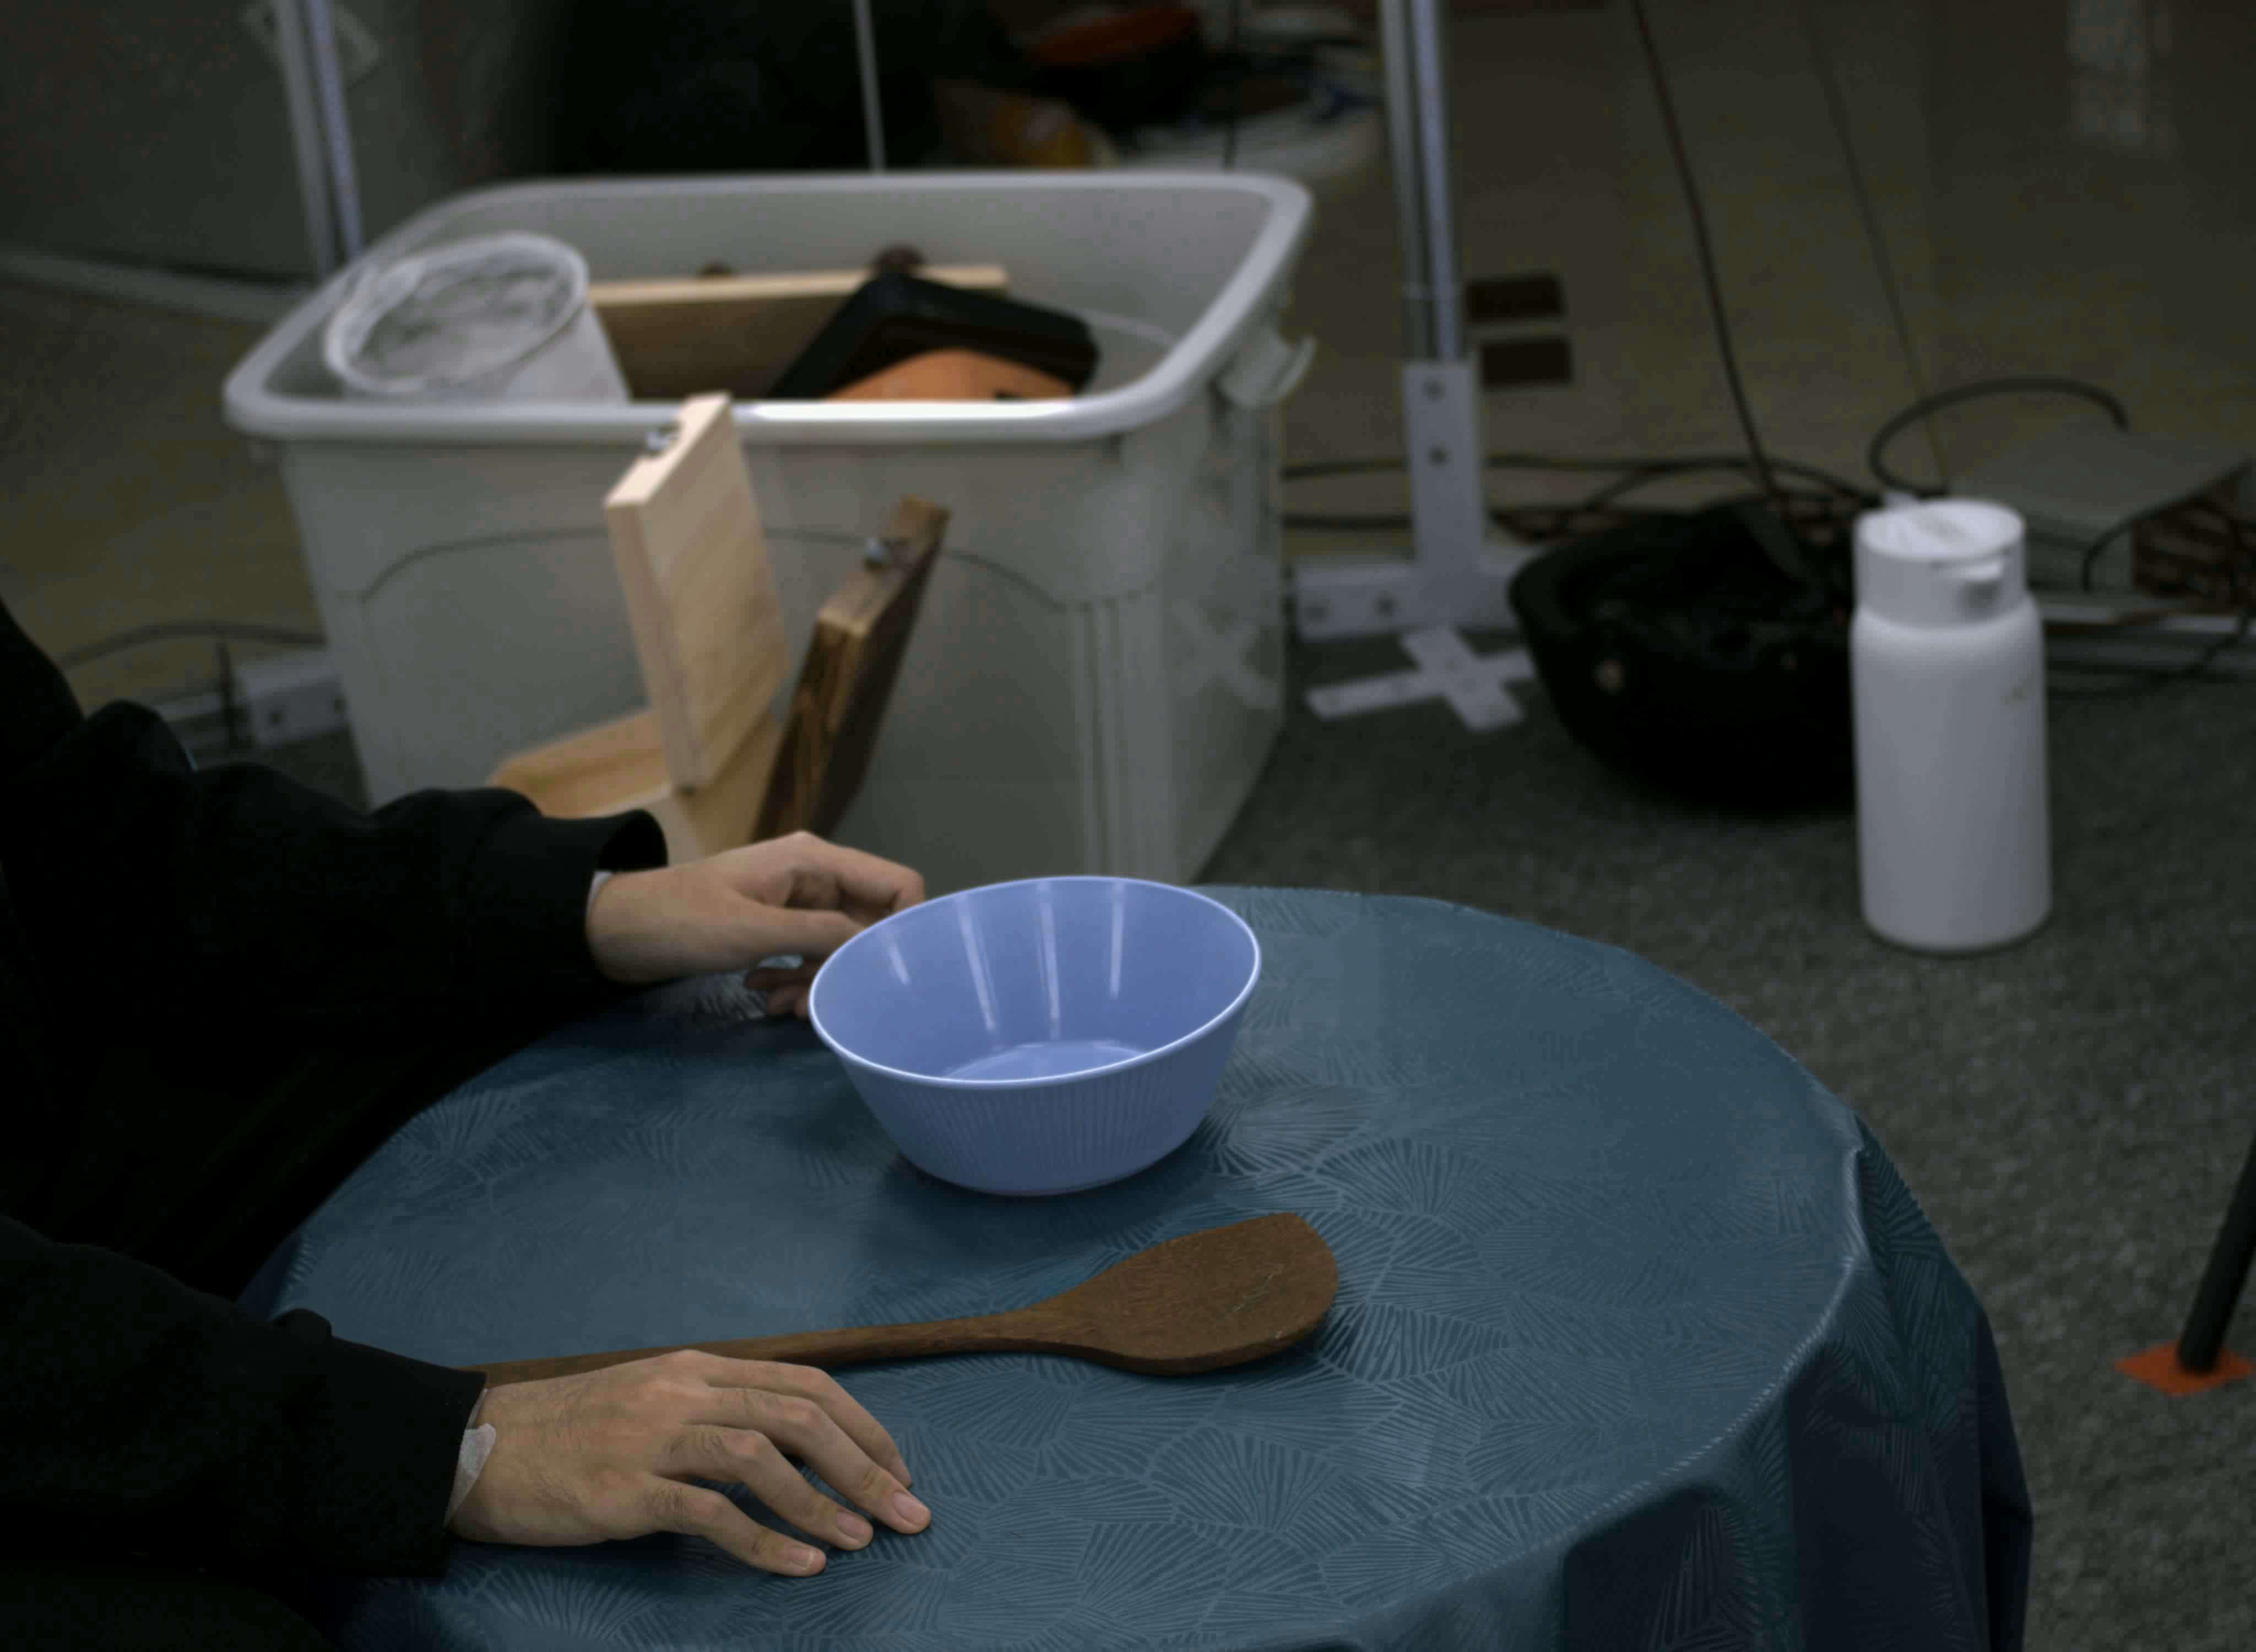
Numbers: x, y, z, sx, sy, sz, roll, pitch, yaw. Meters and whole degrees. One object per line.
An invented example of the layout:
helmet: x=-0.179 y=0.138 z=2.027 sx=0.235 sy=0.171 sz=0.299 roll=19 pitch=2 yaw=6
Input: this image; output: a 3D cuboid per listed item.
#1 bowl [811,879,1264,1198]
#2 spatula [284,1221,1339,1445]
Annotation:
bowl: x=-0.031 y=0.088 z=2.187 sx=0.176 sy=0.071 sz=0.173 roll=-7 pitch=25 yaw=3
spatula: x=-0.115 y=0.190 z=2.055 sx=0.385 sy=0.016 sz=0.095 roll=-7 pitch=24 yaw=-1
